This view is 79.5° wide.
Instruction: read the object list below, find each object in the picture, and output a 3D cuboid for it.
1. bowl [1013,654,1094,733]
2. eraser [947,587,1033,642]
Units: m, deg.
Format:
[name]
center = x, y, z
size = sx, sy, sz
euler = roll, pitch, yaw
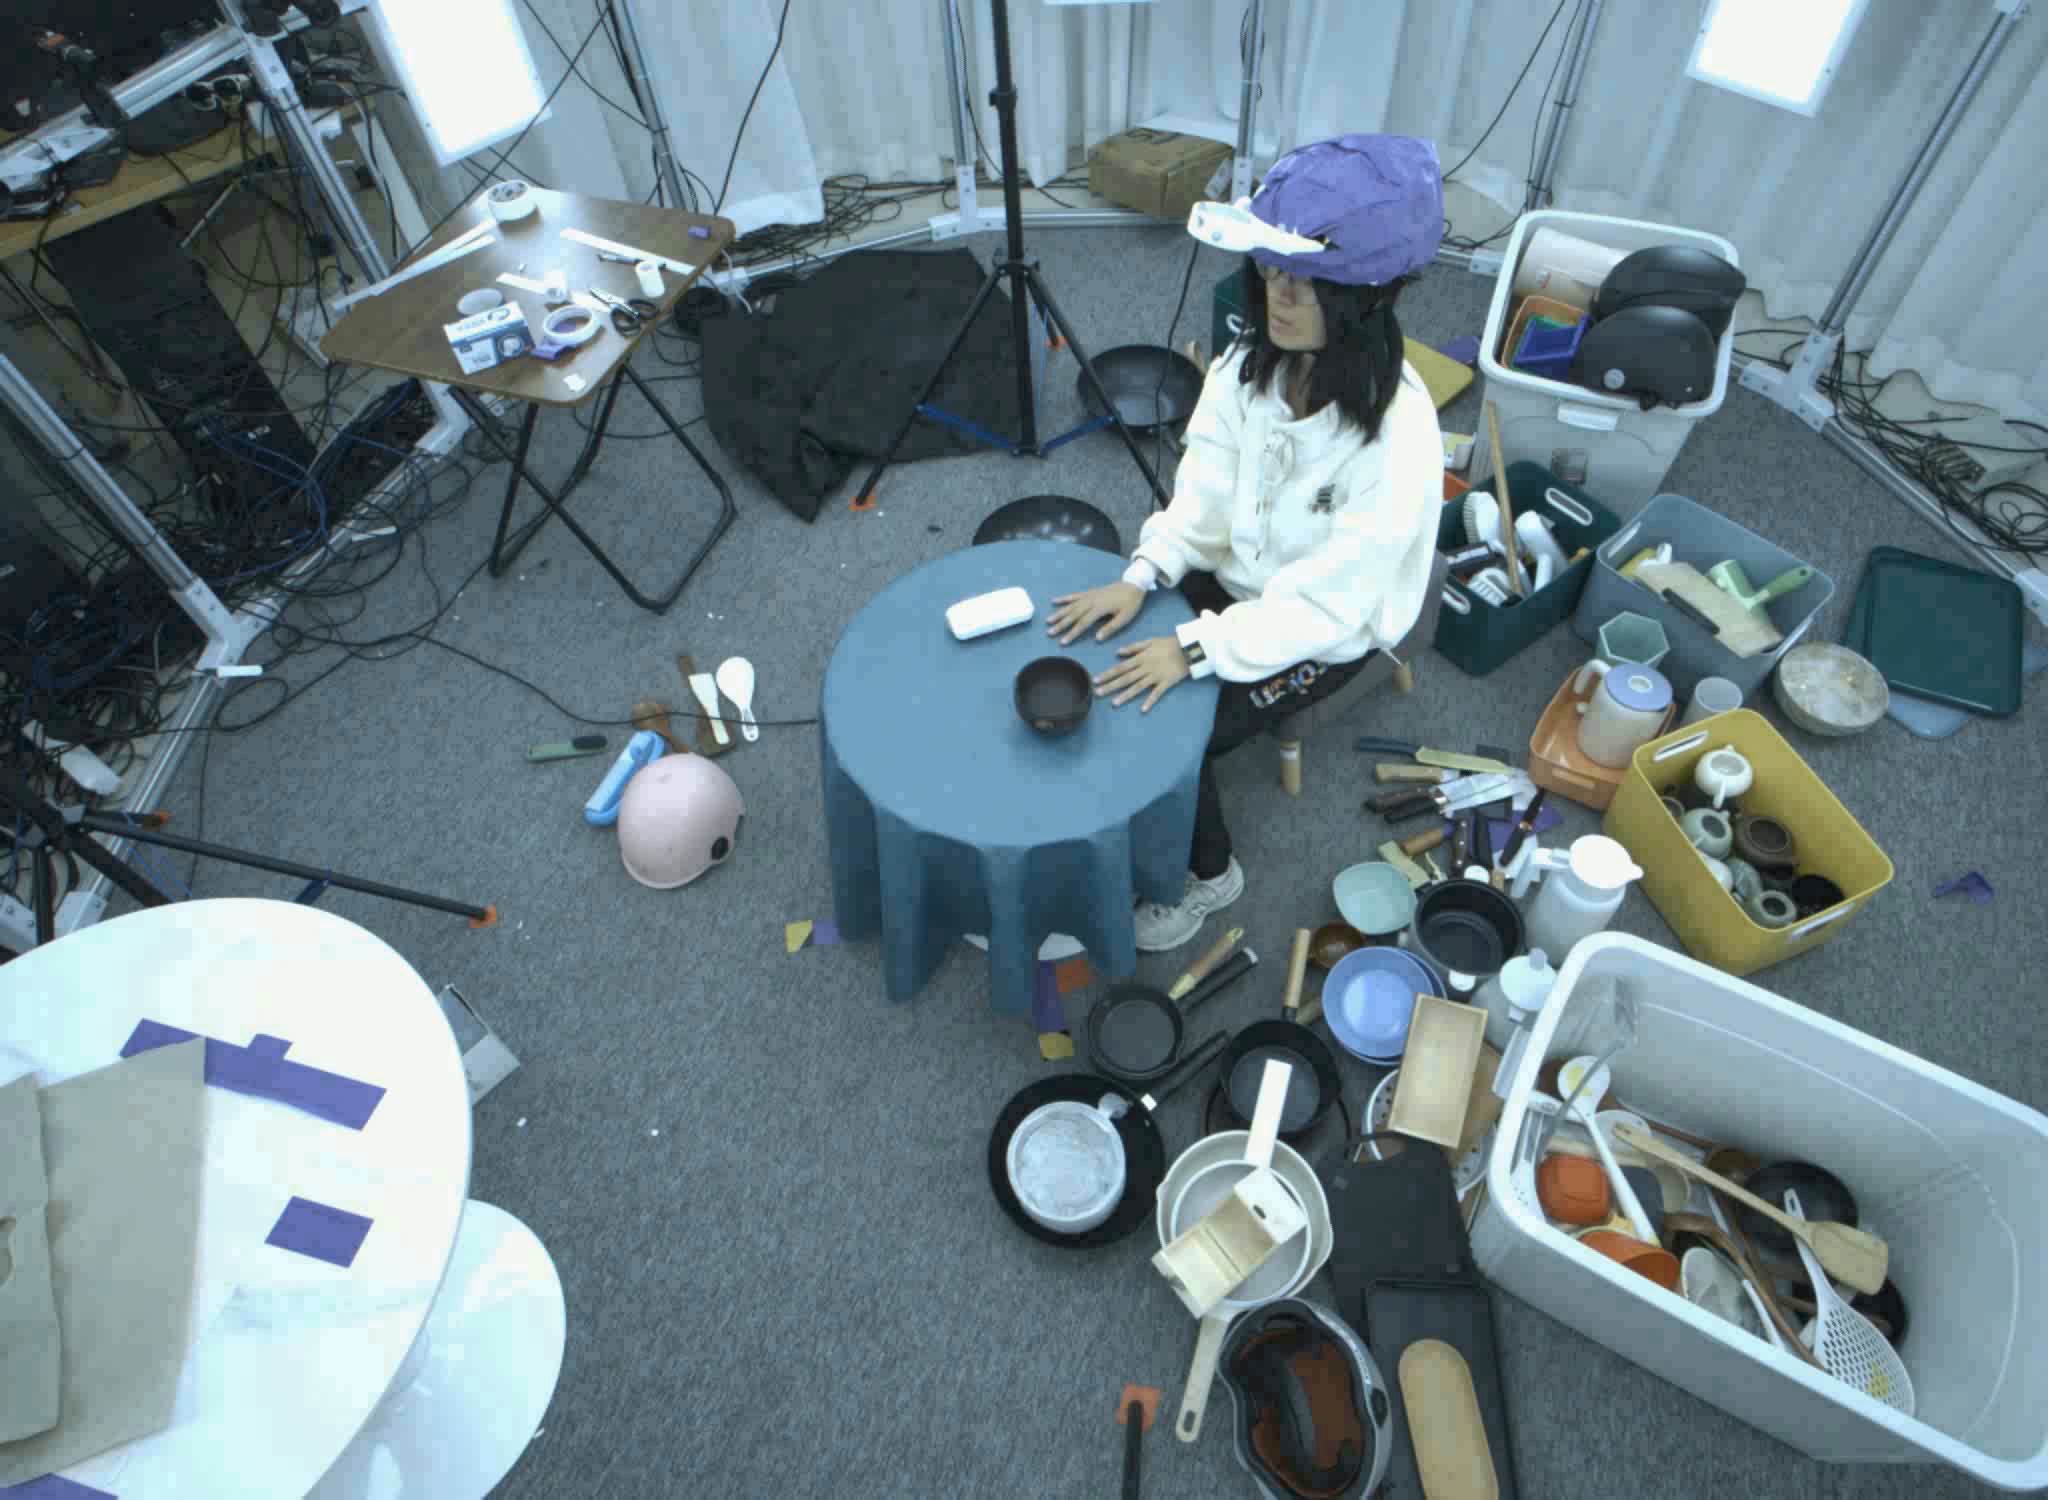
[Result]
[bowl]
center = 0.043, -0.075, 1.795
size = 0.118, 0.070, 0.117
euler = 0, 56, 1
[eraser]
center = -0.052, -0.212, 1.921
size = 0.132, 0.035, 0.062
euler = -18, 57, -10
